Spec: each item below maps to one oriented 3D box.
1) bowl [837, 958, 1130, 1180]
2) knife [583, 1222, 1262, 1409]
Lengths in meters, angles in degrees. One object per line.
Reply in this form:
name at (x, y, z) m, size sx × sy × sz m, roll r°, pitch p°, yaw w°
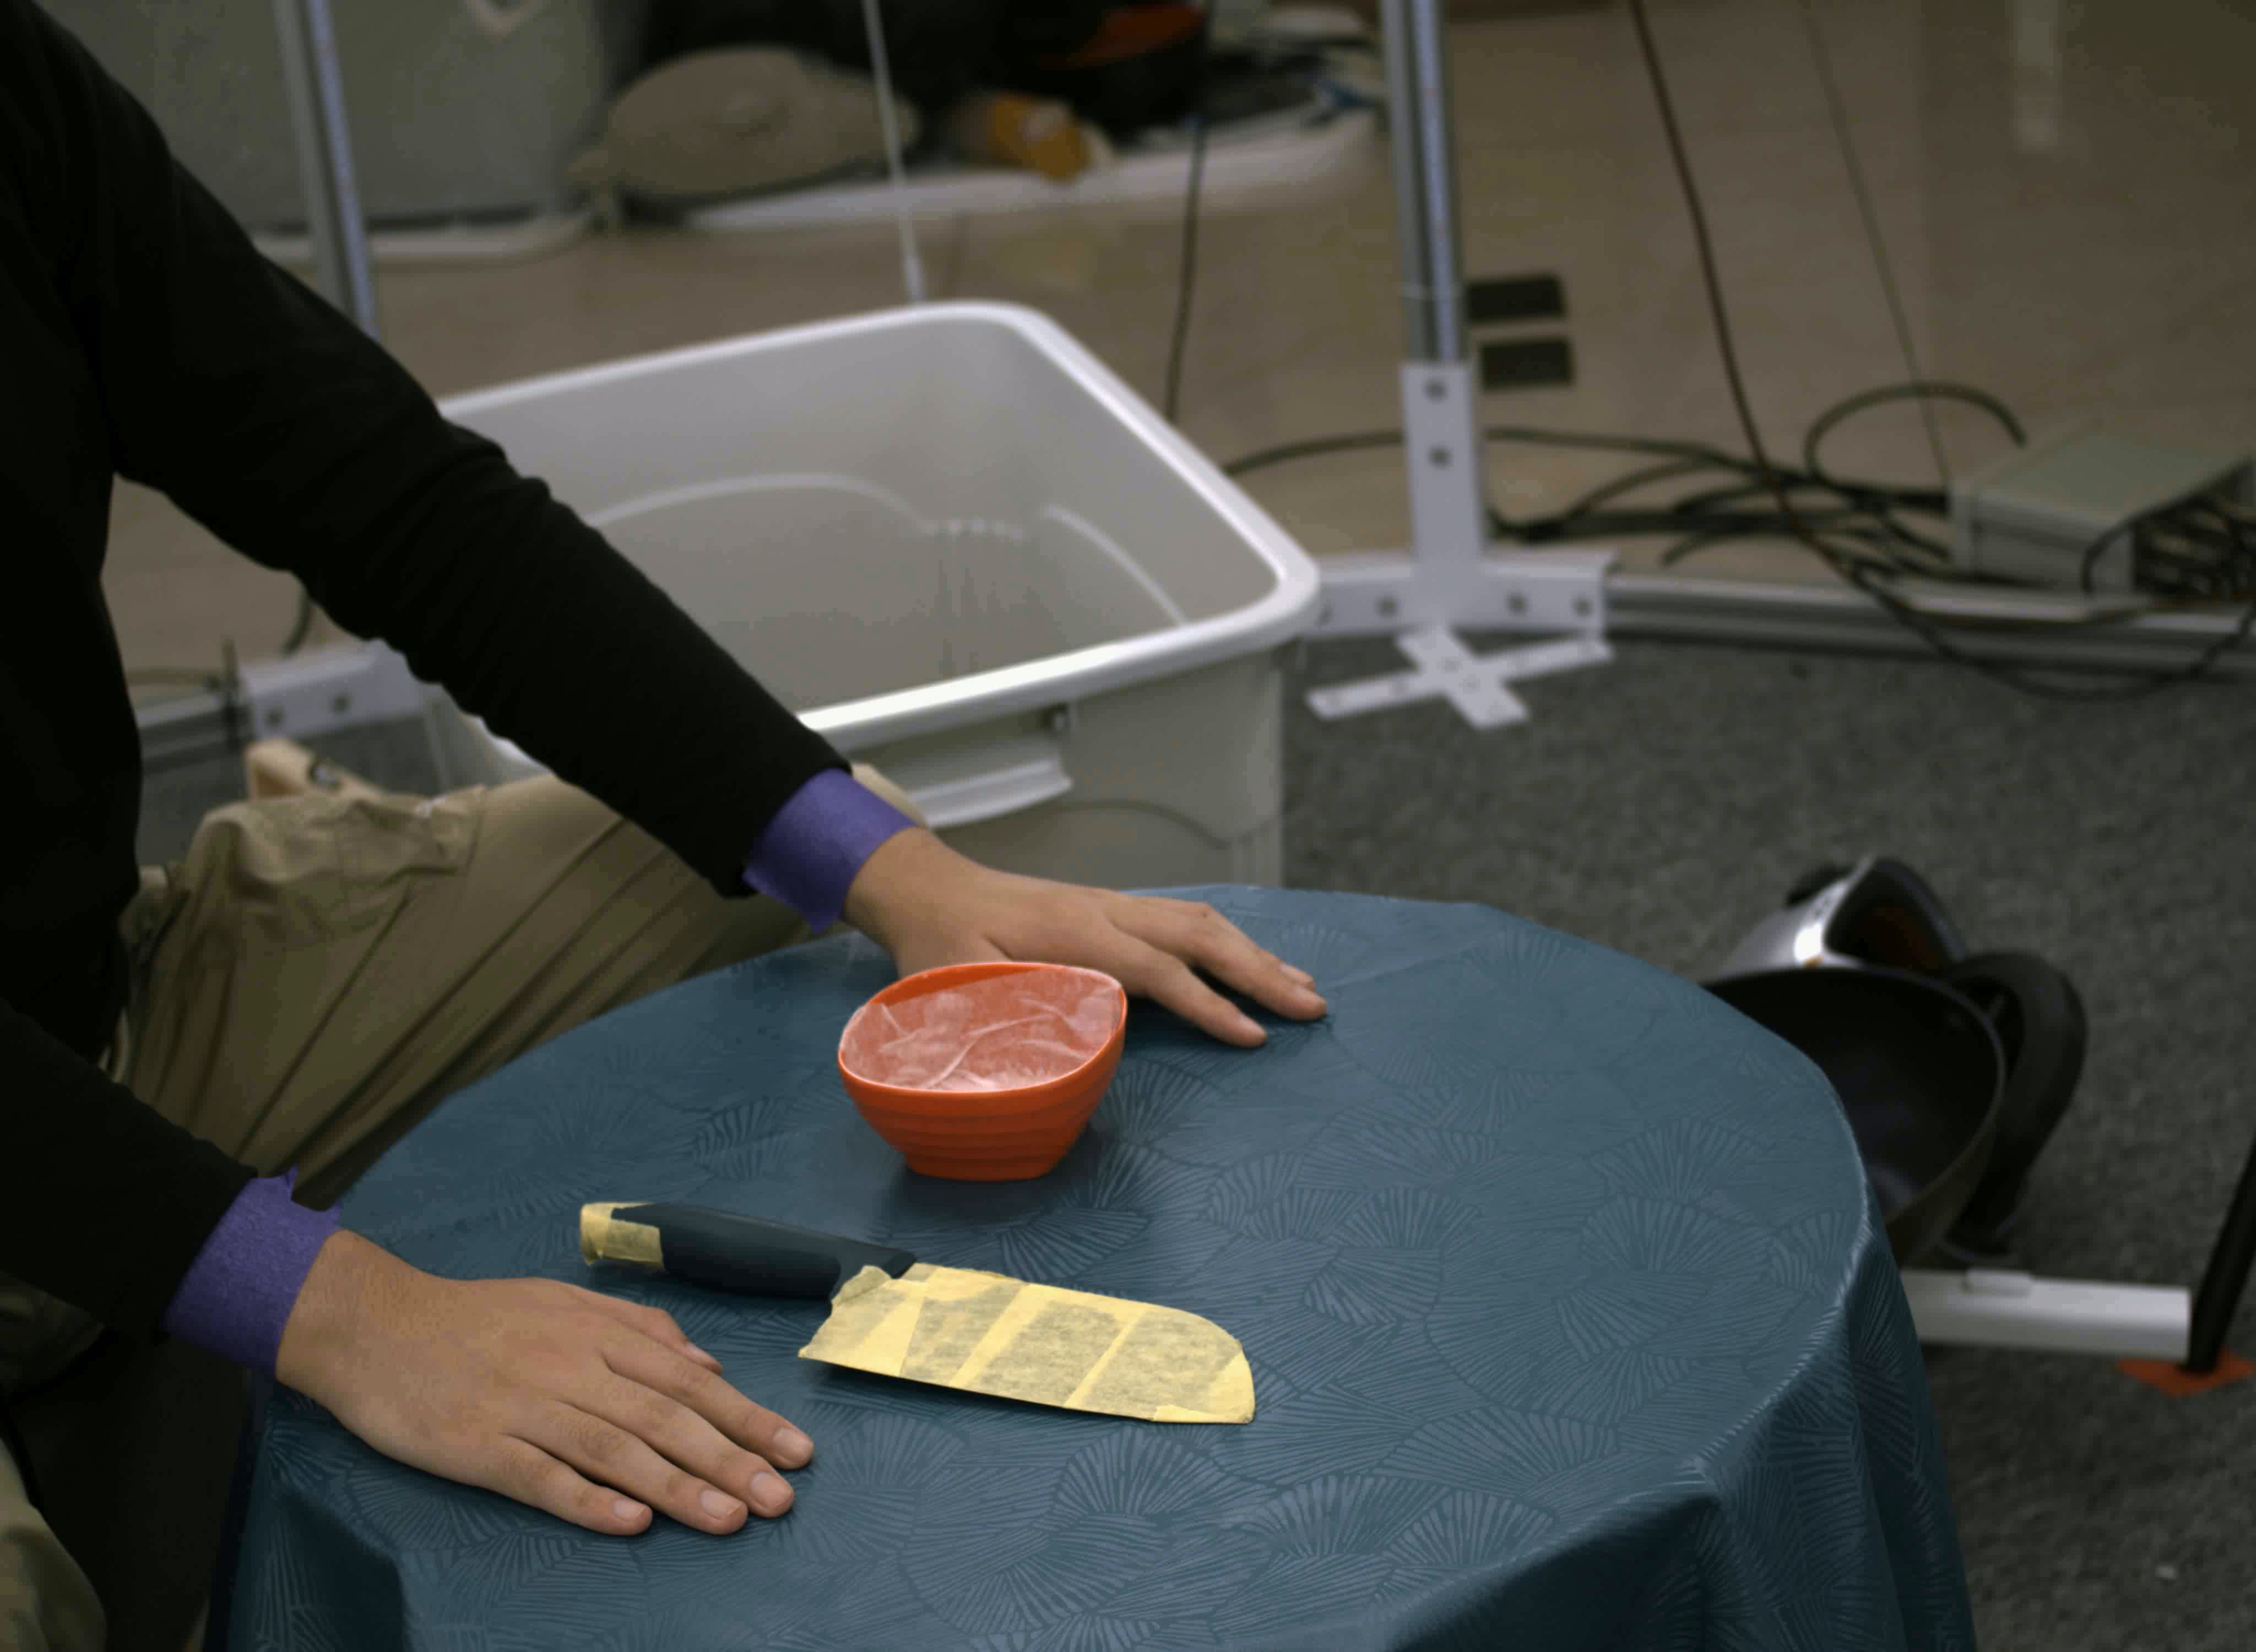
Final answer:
bowl at (-0.053, 0.098, 2.188) m, size 0.119 × 0.052 × 0.117 m, roll -5°, pitch 27°, yaw 2°
knife at (-0.082, 0.179, 2.067) m, size 0.288 × 0.027 × 0.080 m, roll 8°, pitch 27°, yaw 26°
